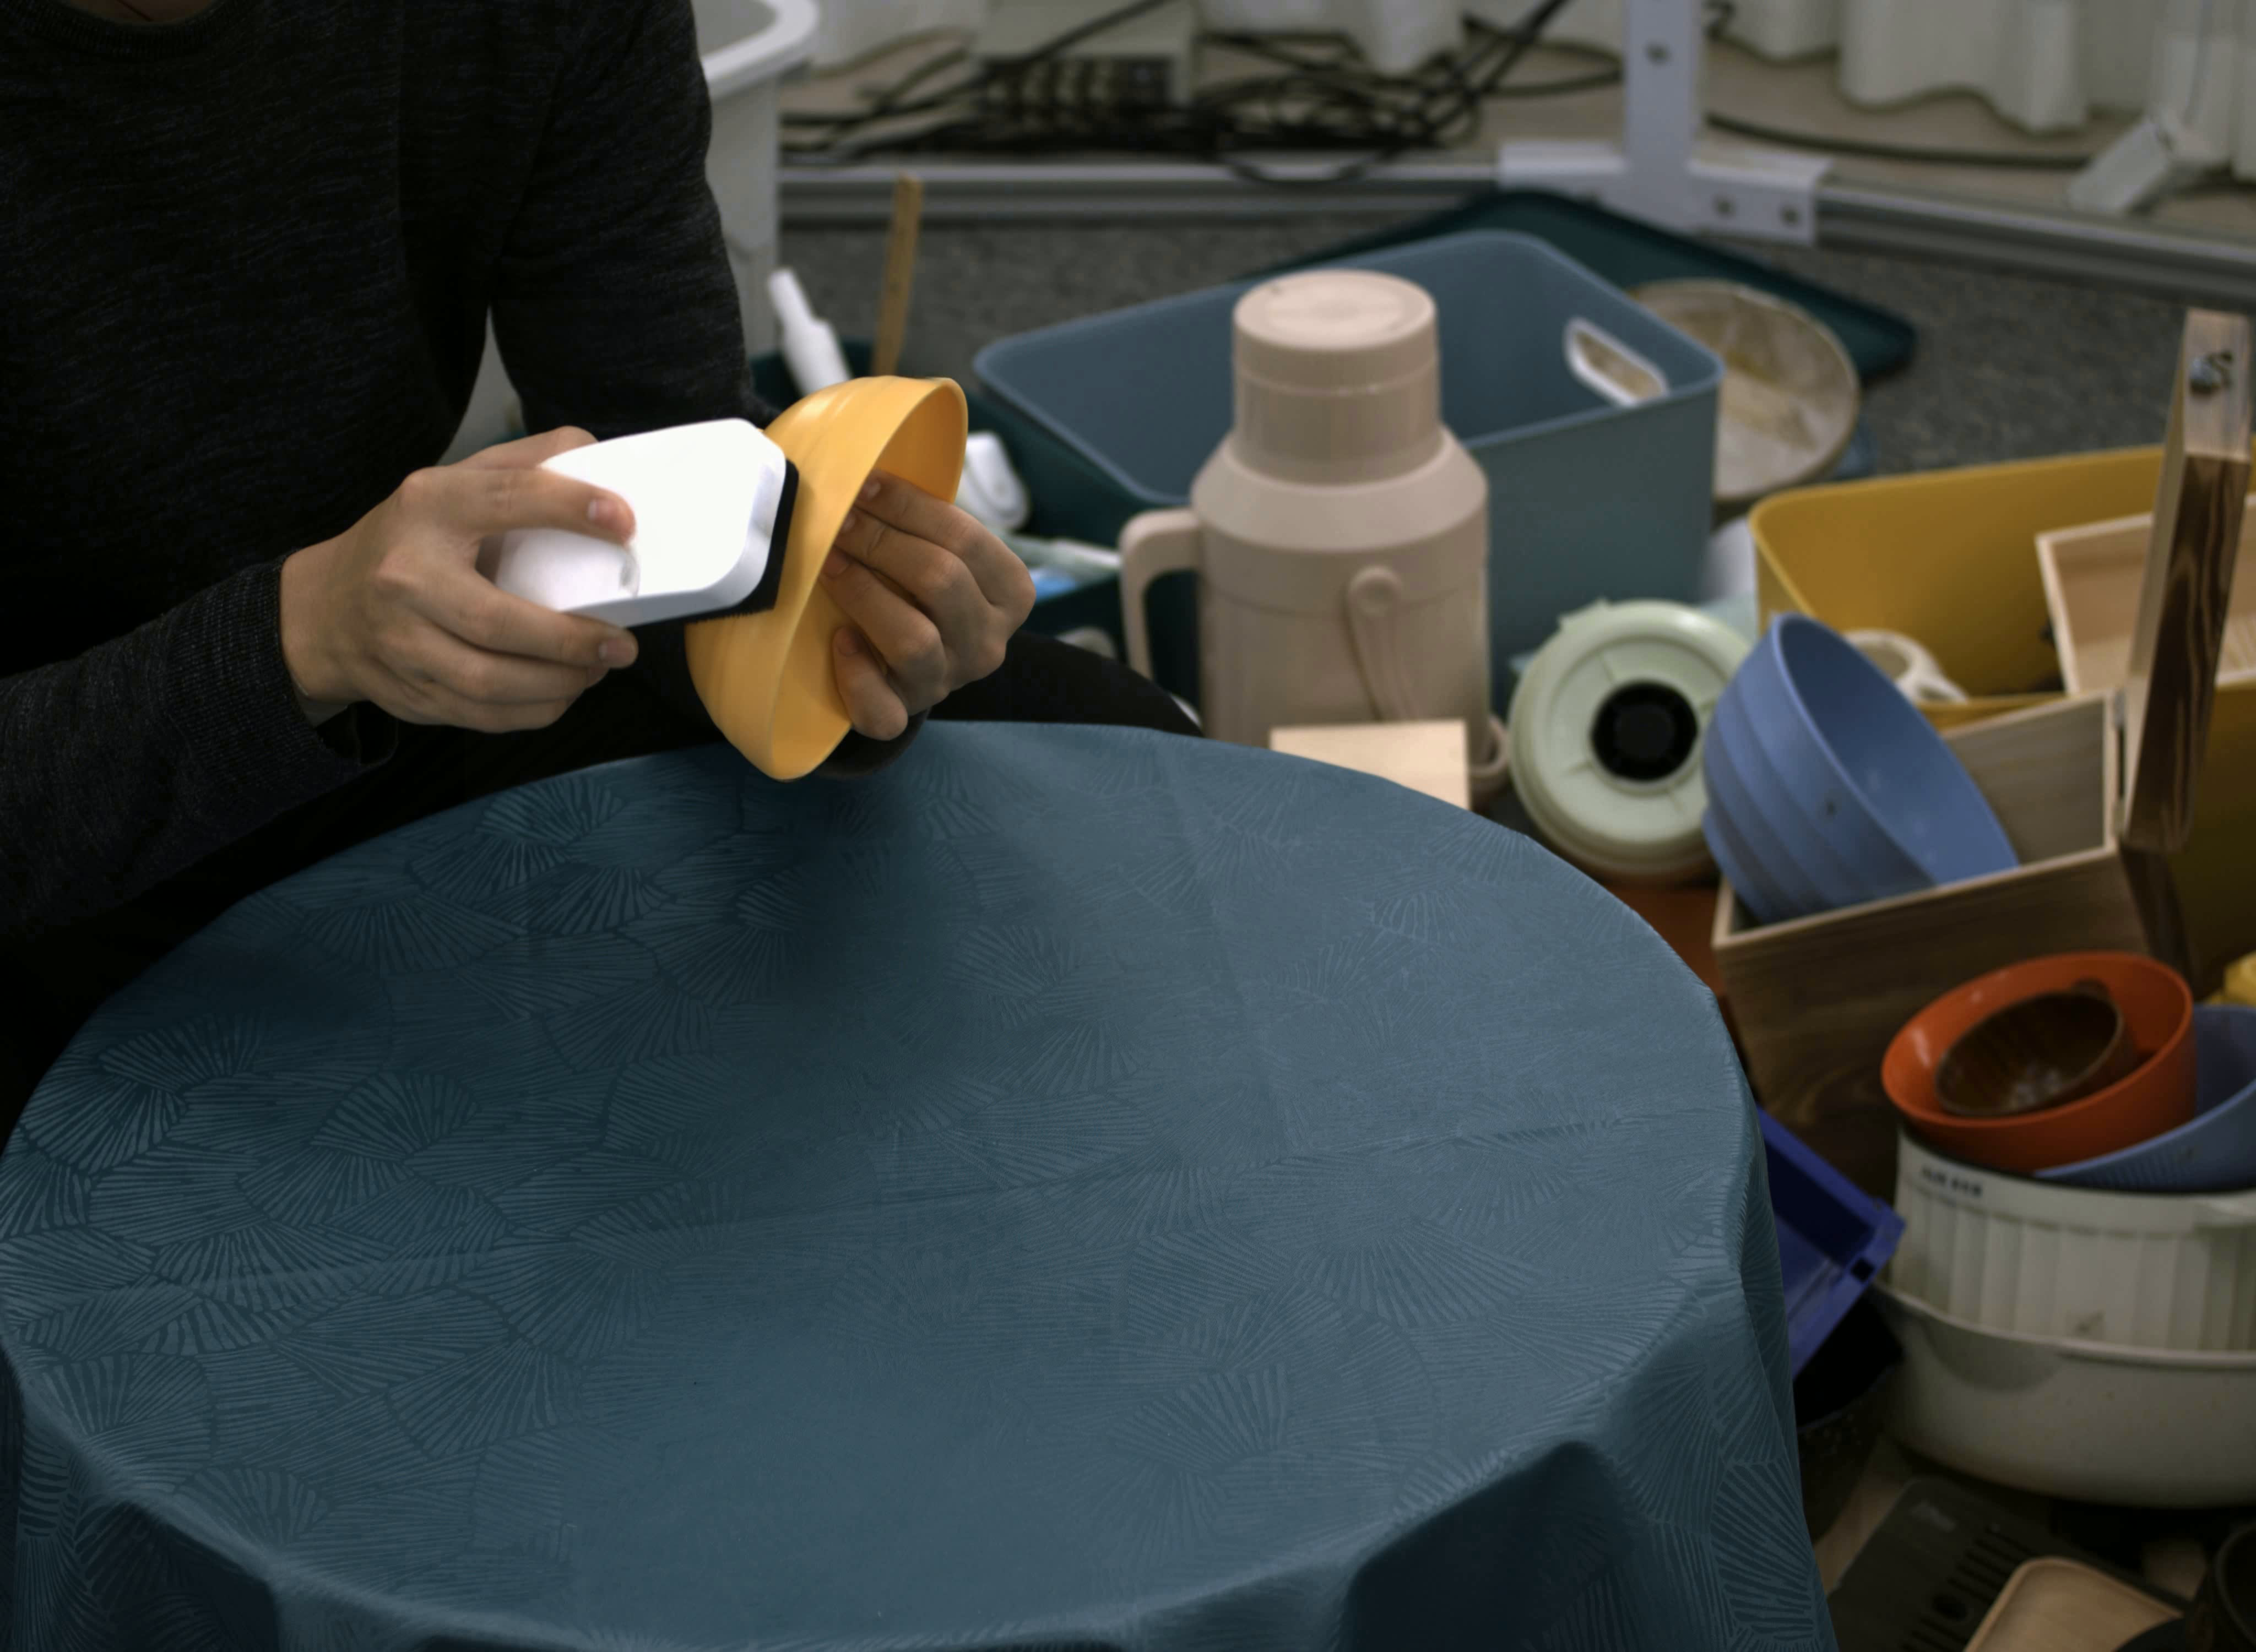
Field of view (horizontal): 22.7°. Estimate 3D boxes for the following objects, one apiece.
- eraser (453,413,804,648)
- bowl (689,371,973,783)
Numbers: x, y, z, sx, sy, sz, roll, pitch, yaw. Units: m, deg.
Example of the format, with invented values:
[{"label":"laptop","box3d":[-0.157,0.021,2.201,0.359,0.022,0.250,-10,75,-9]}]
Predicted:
[{"label":"eraser","box3d":[-0.163,-0.096,1.818,0.130,0.034,0.064,-8,58,38]},{"label":"bowl","box3d":[-0.109,-0.091,1.862,0.060,0.143,0.148,23,33,11]}]
